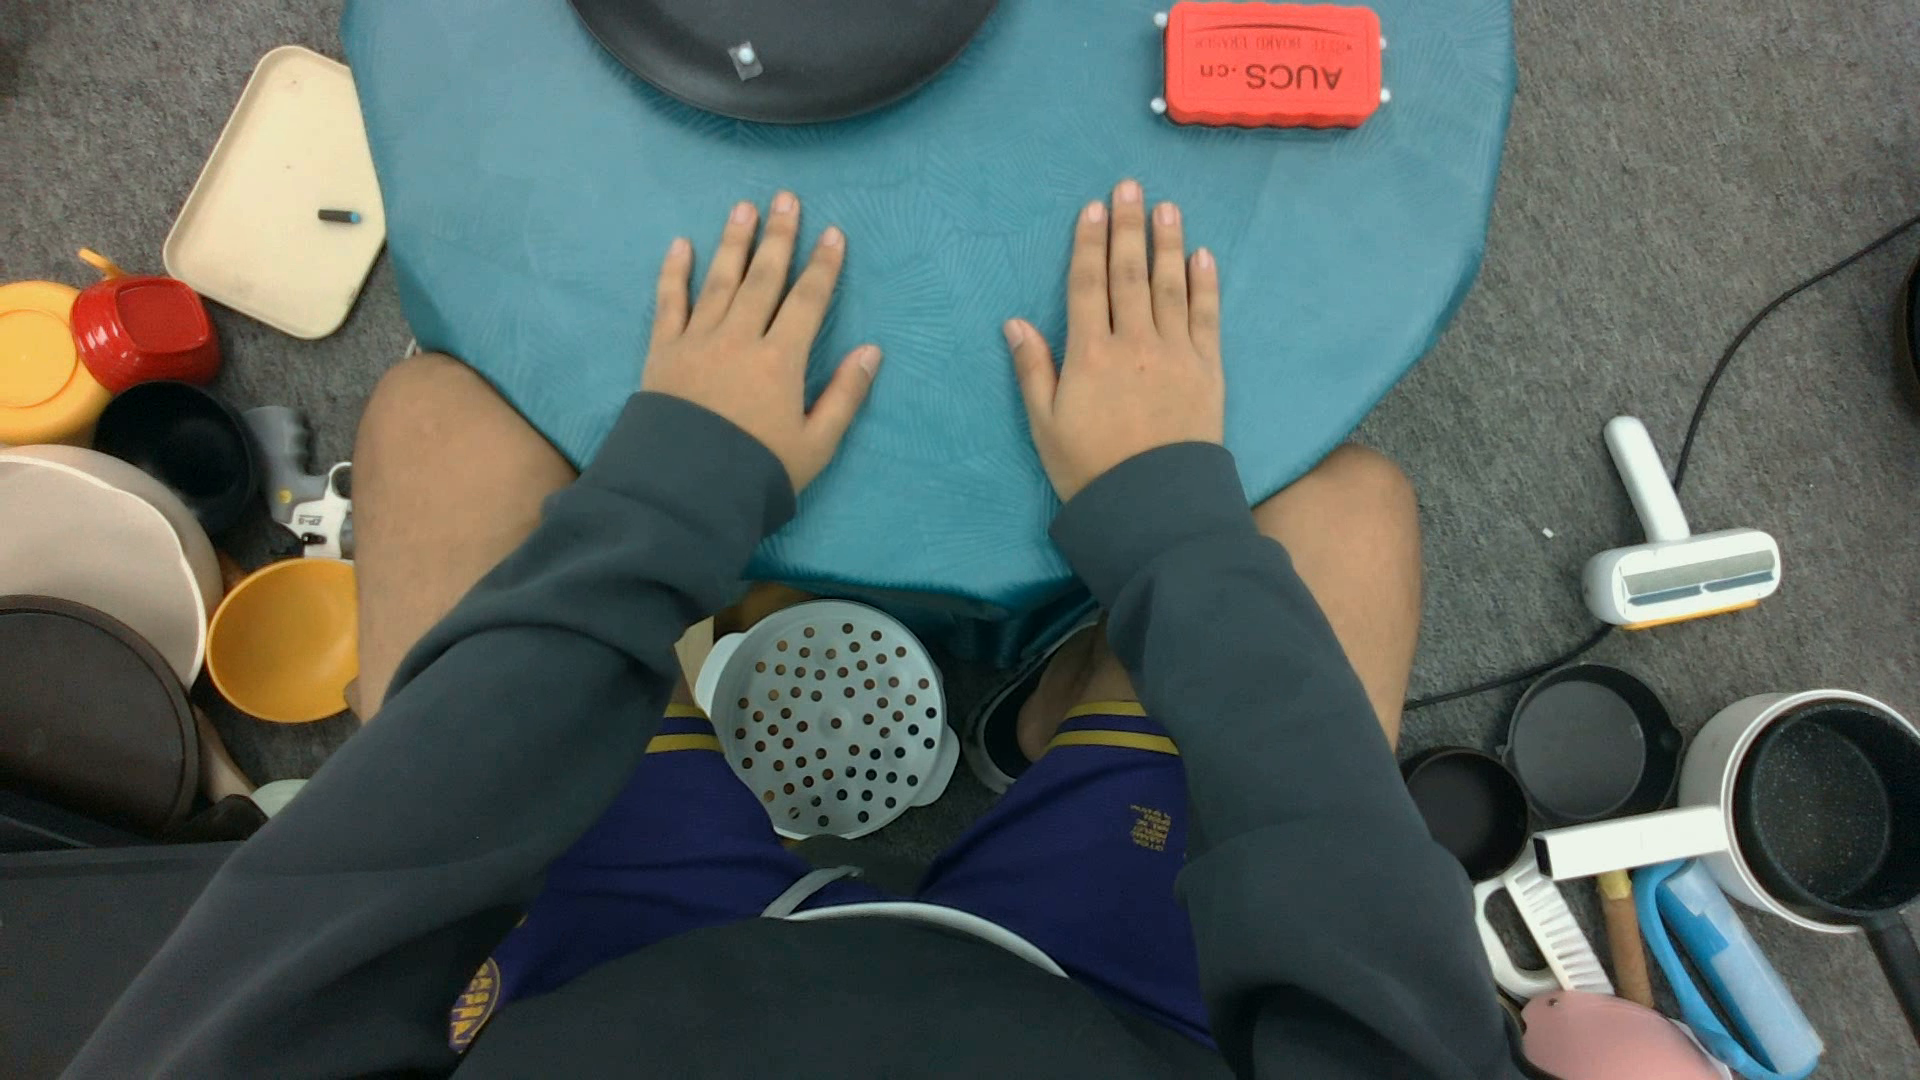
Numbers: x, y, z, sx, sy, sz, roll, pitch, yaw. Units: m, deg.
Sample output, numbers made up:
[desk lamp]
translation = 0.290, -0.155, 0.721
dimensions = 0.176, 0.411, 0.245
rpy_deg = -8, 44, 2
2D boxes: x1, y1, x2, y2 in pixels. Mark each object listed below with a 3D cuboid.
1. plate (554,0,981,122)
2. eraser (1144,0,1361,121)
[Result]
[plate]
translation = -0.097, -0.327, 0.700
dimensions = 0.244, 0.023, 0.244
rpy_deg = 0, 85, -5
[eraser]
translation = 0.150, -0.247, 0.709
dimensions = 0.108, 0.023, 0.059
rpy_deg = 0, 84, -3
